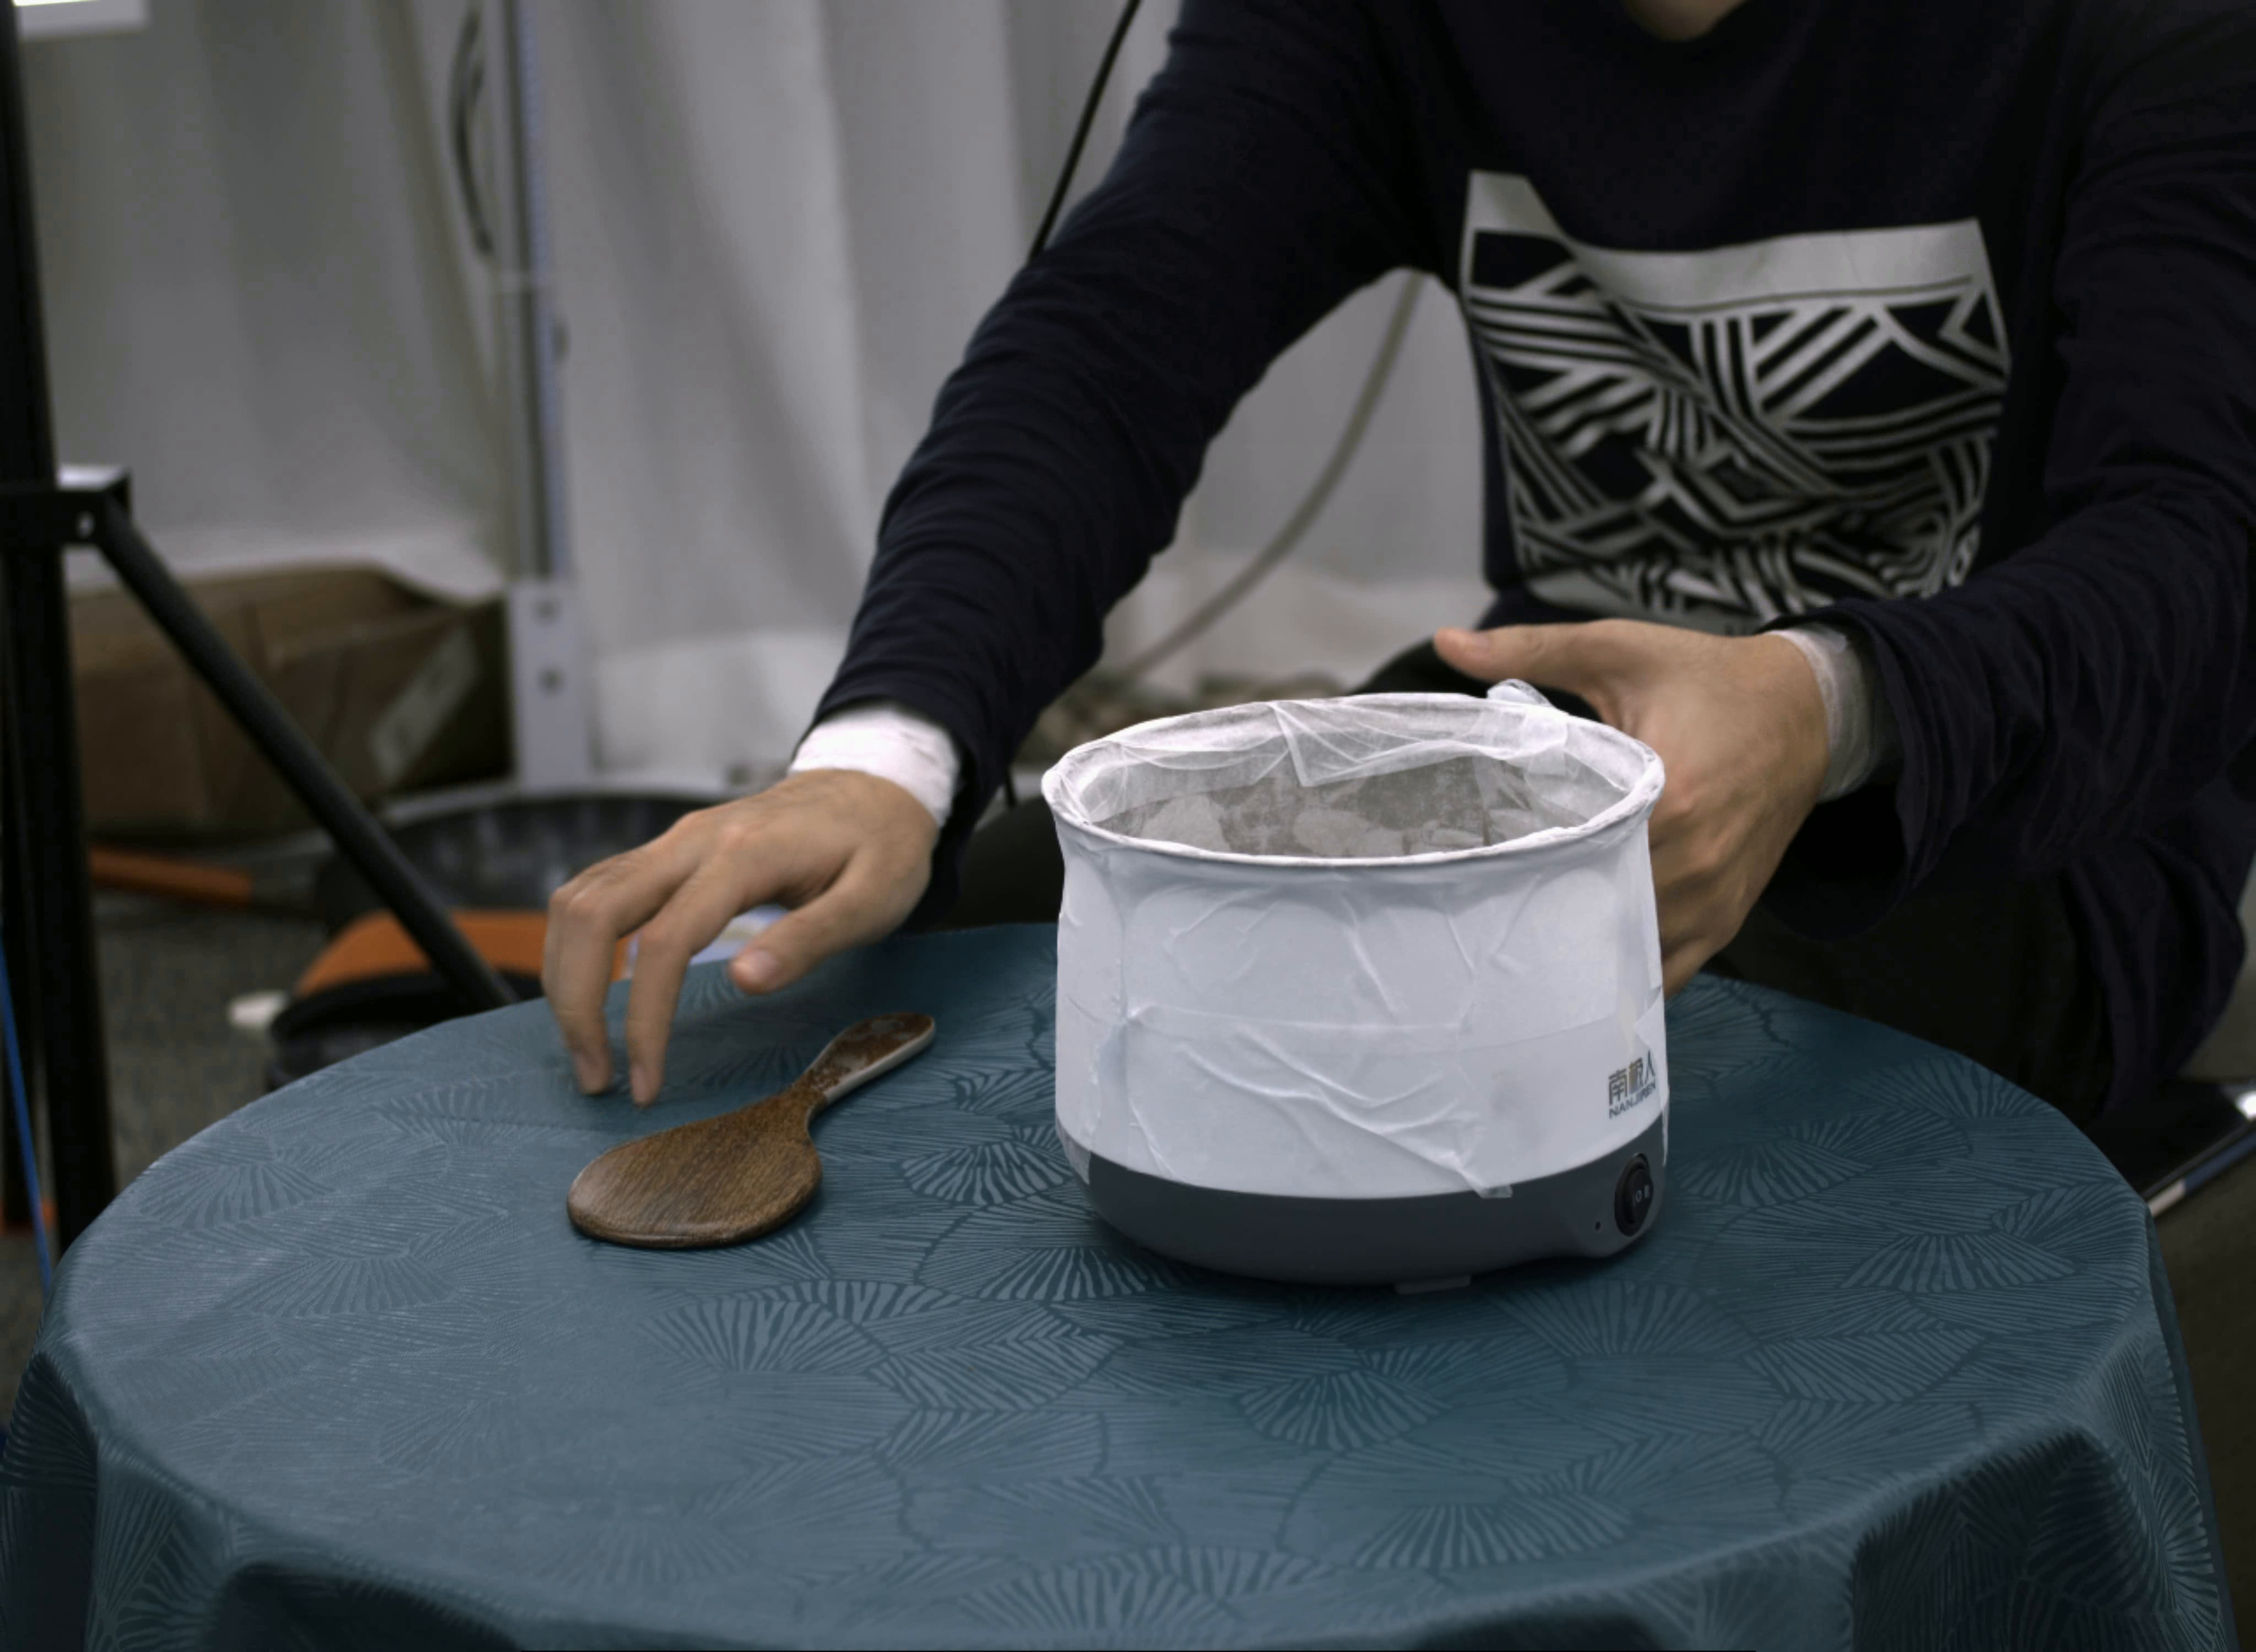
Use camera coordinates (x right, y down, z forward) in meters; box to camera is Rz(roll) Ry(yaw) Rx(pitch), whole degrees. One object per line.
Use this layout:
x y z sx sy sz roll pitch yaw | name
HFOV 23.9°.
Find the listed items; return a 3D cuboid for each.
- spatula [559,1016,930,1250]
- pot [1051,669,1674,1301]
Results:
-0.105 0.091 1.629 0.073 0.009 0.213 5 17 19 | spatula
0.079 0.038 1.540 0.182 0.136 0.230 10 21 28 | pot
